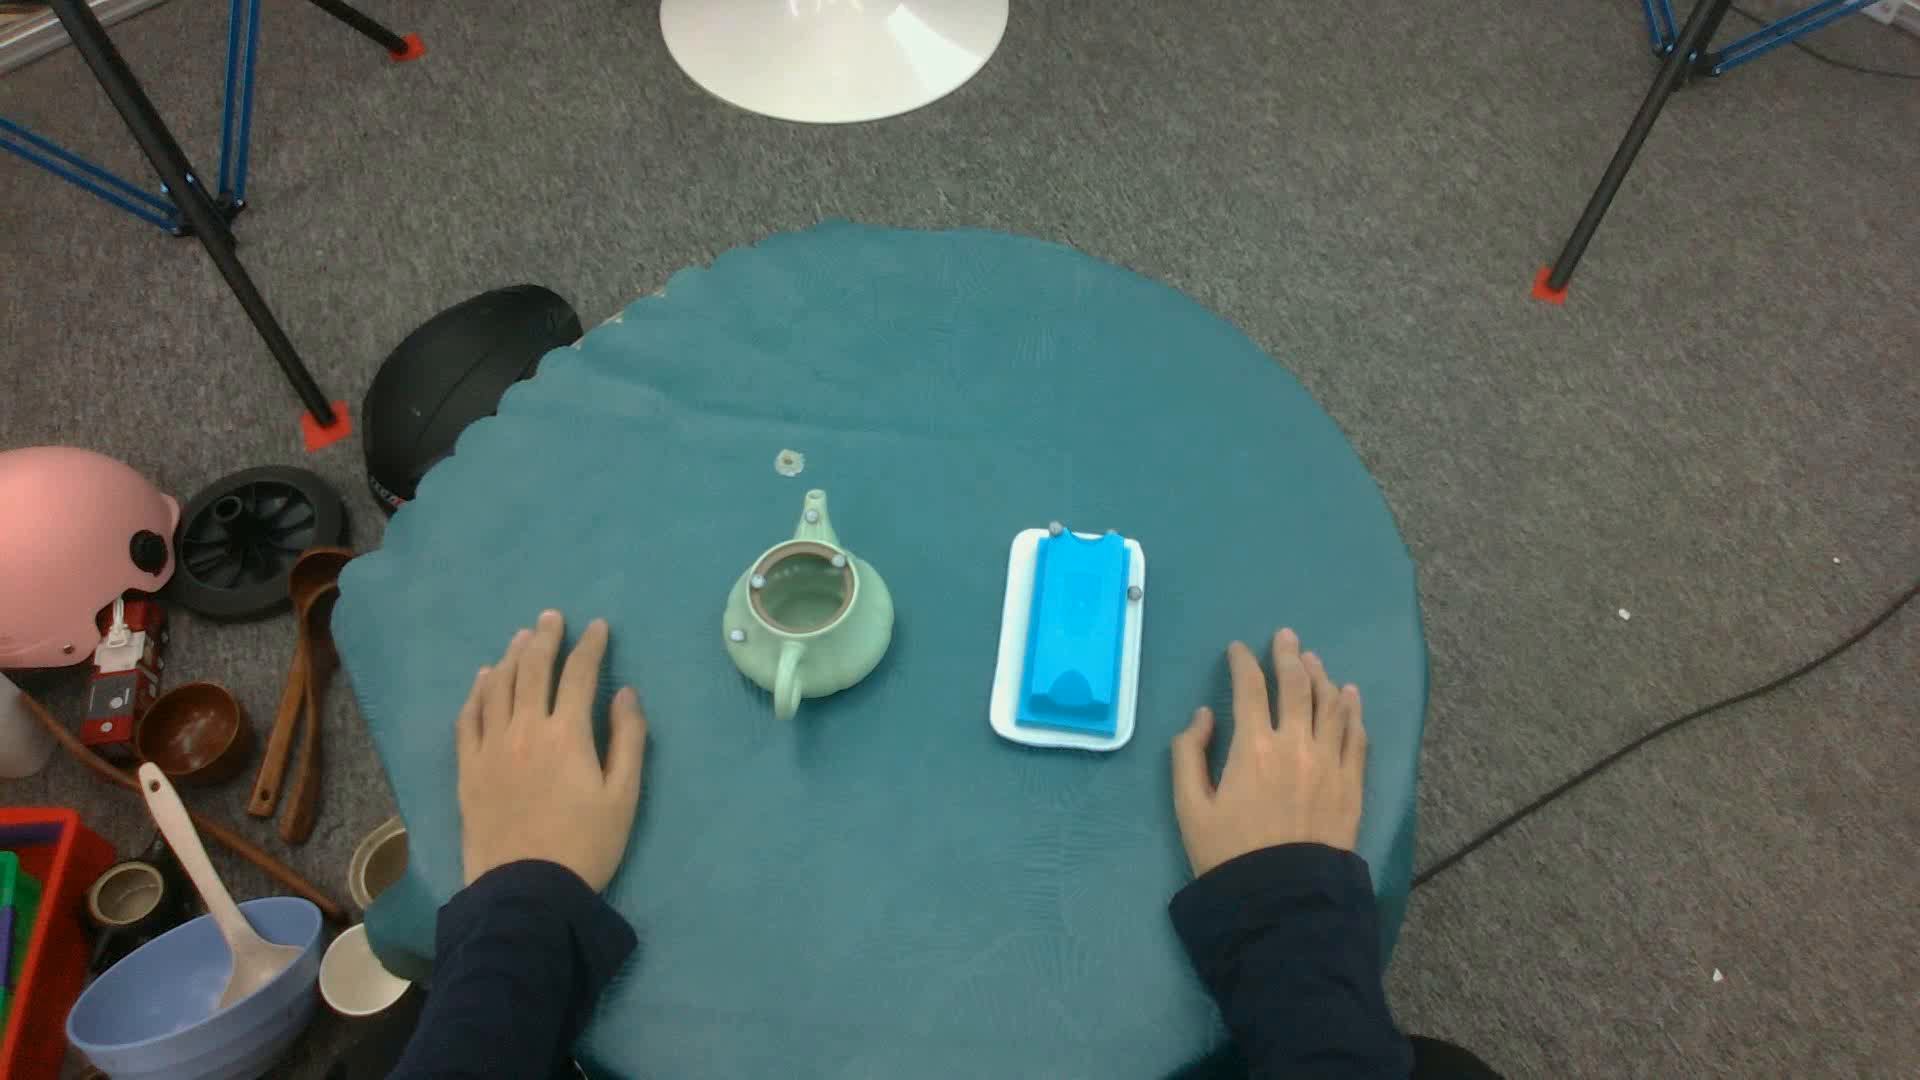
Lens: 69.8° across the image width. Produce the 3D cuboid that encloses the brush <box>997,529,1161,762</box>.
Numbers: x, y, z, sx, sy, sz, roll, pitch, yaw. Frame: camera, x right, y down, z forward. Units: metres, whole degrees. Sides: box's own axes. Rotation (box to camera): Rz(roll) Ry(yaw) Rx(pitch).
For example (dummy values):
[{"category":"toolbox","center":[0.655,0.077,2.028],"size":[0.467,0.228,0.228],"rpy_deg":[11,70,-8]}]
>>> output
[{"category":"brush","center":[0.069,0.052,0.775],"size":[0.084,0.055,0.144],"rpy_deg":[6,55,8]}]

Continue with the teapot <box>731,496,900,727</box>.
[{"category":"teapot","center":[-0.083,0.046,0.780],"size":[0.096,0.061,0.137],"rpy_deg":[4,57,0]}]
